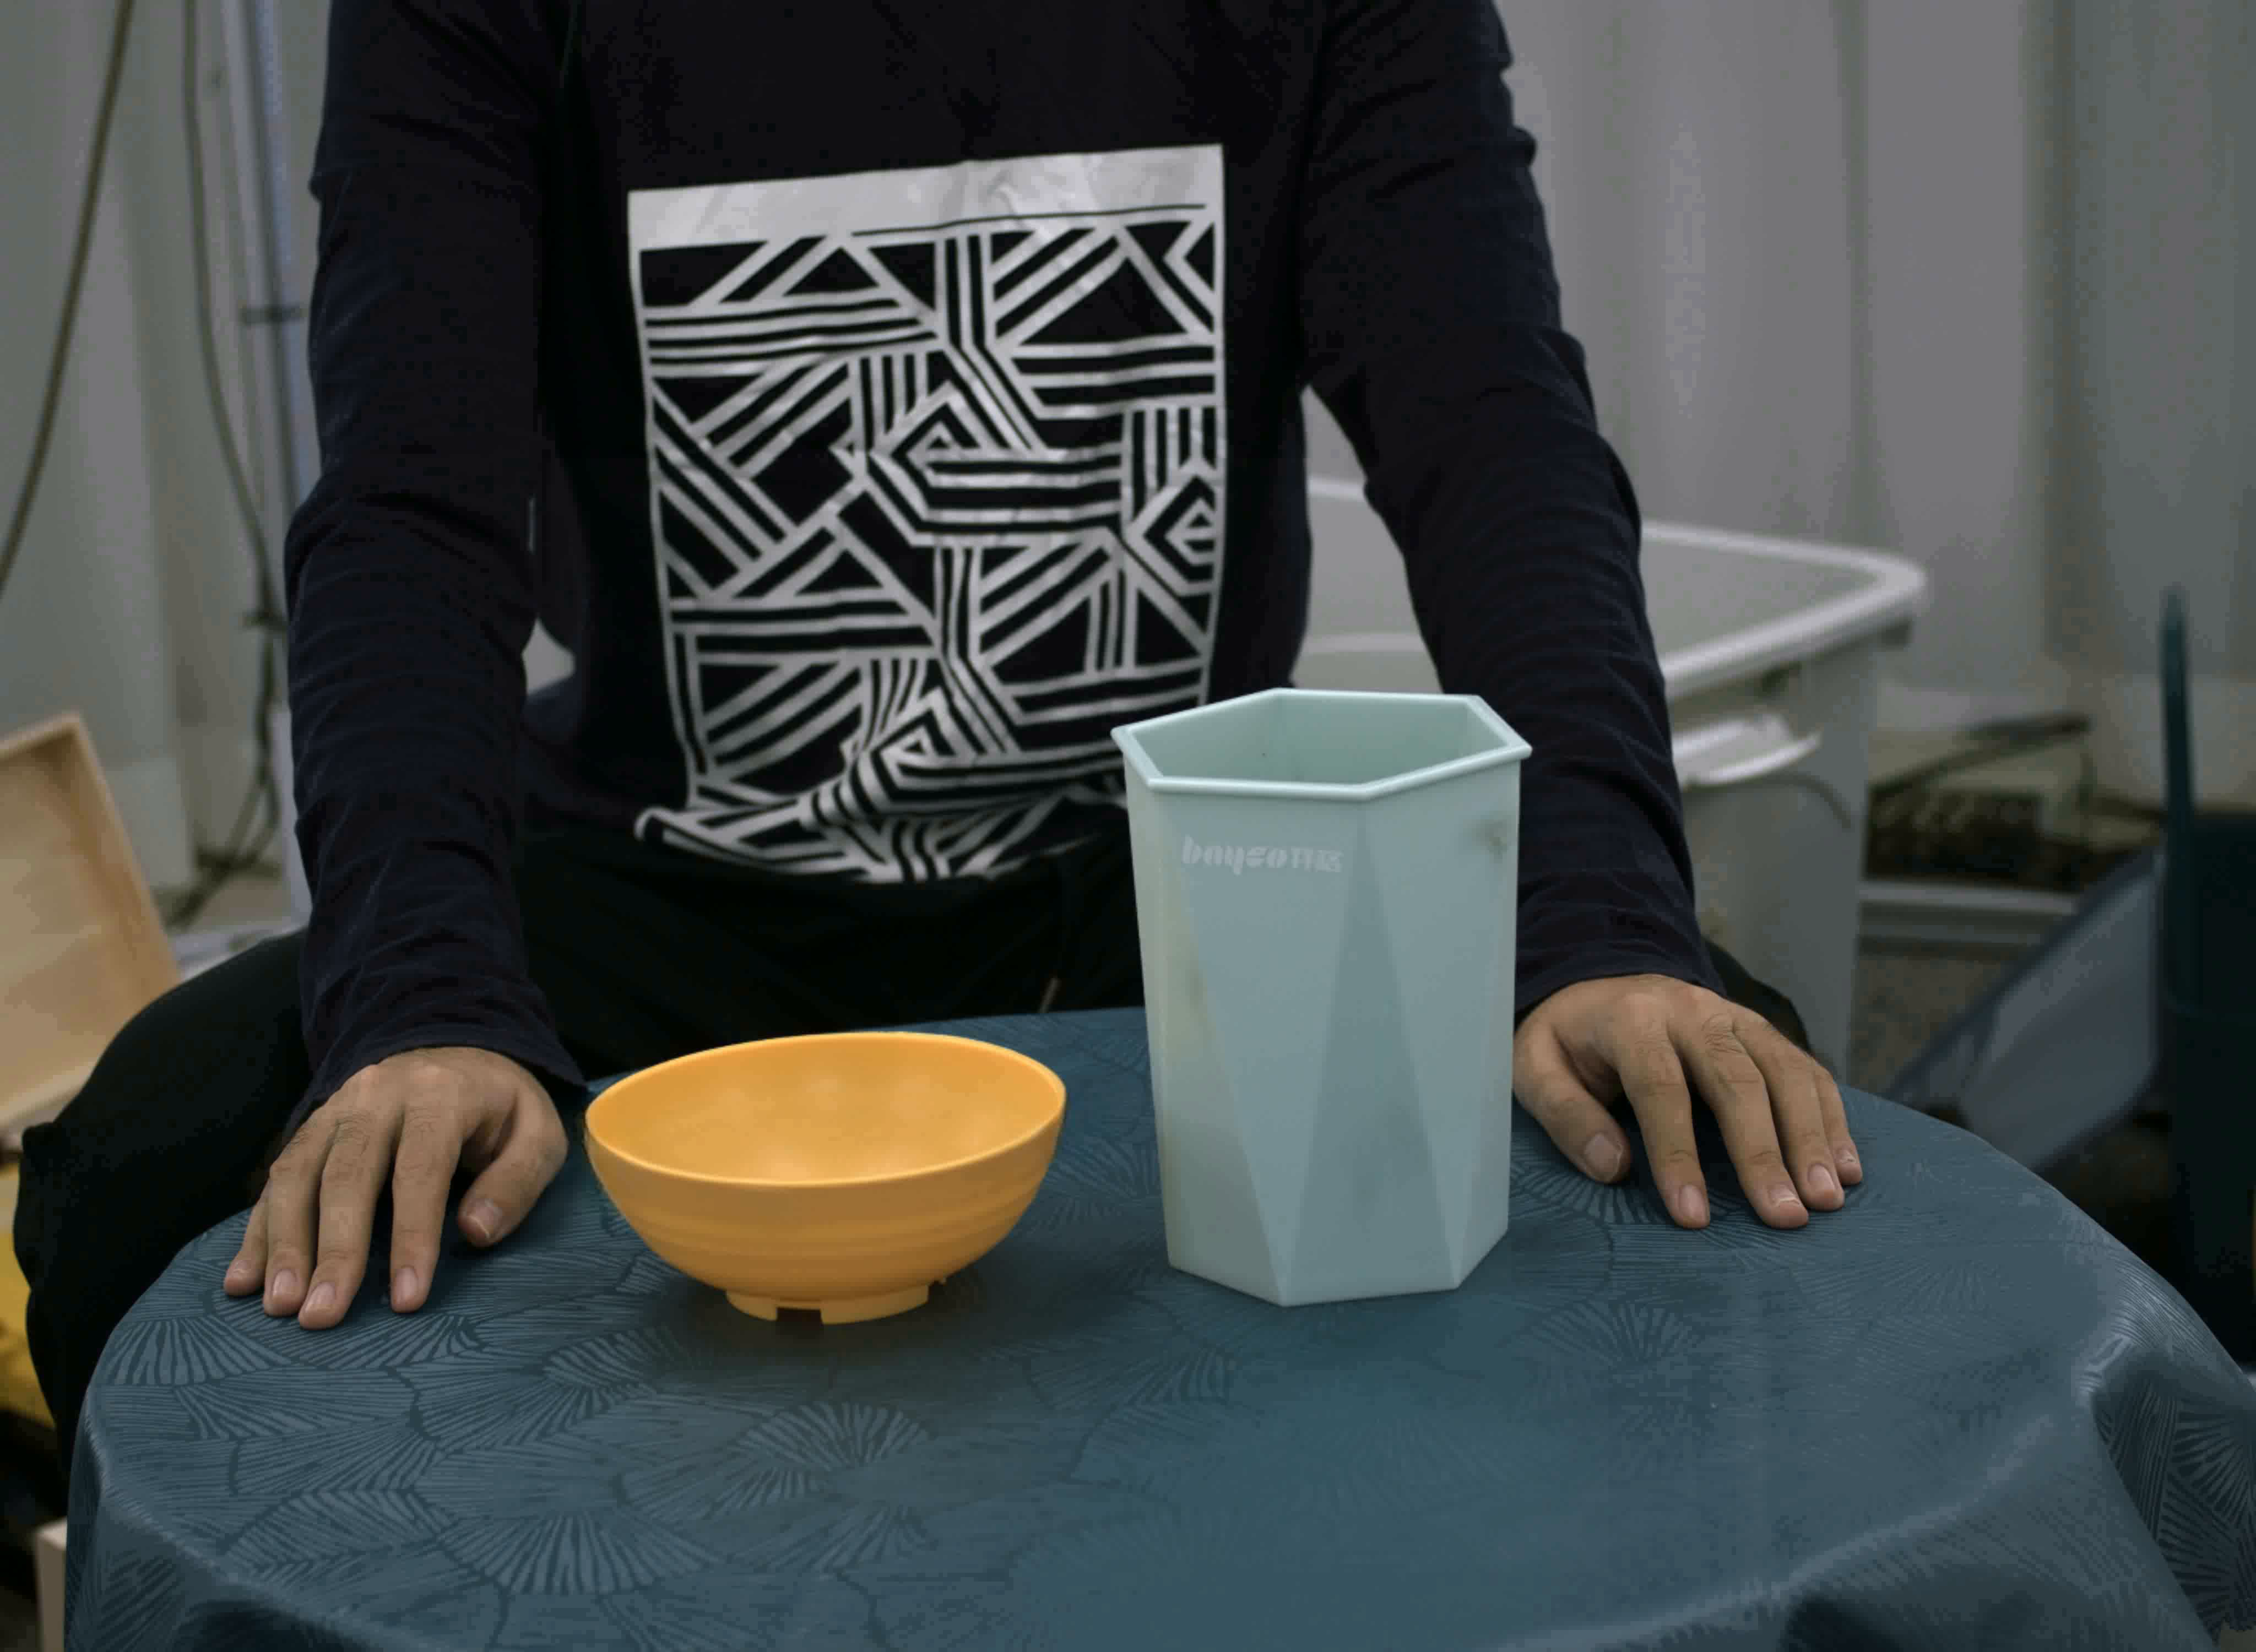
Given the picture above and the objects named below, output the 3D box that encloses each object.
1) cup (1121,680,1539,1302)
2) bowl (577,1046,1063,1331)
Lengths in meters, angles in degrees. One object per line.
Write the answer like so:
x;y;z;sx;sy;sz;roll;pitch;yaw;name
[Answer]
0.061;0.049;1.632;0.131;0.162;0.115;3;14;19;cup
-0.091;0.113;1.636;0.145;0.060;0.146;-1;13;0;bowl
